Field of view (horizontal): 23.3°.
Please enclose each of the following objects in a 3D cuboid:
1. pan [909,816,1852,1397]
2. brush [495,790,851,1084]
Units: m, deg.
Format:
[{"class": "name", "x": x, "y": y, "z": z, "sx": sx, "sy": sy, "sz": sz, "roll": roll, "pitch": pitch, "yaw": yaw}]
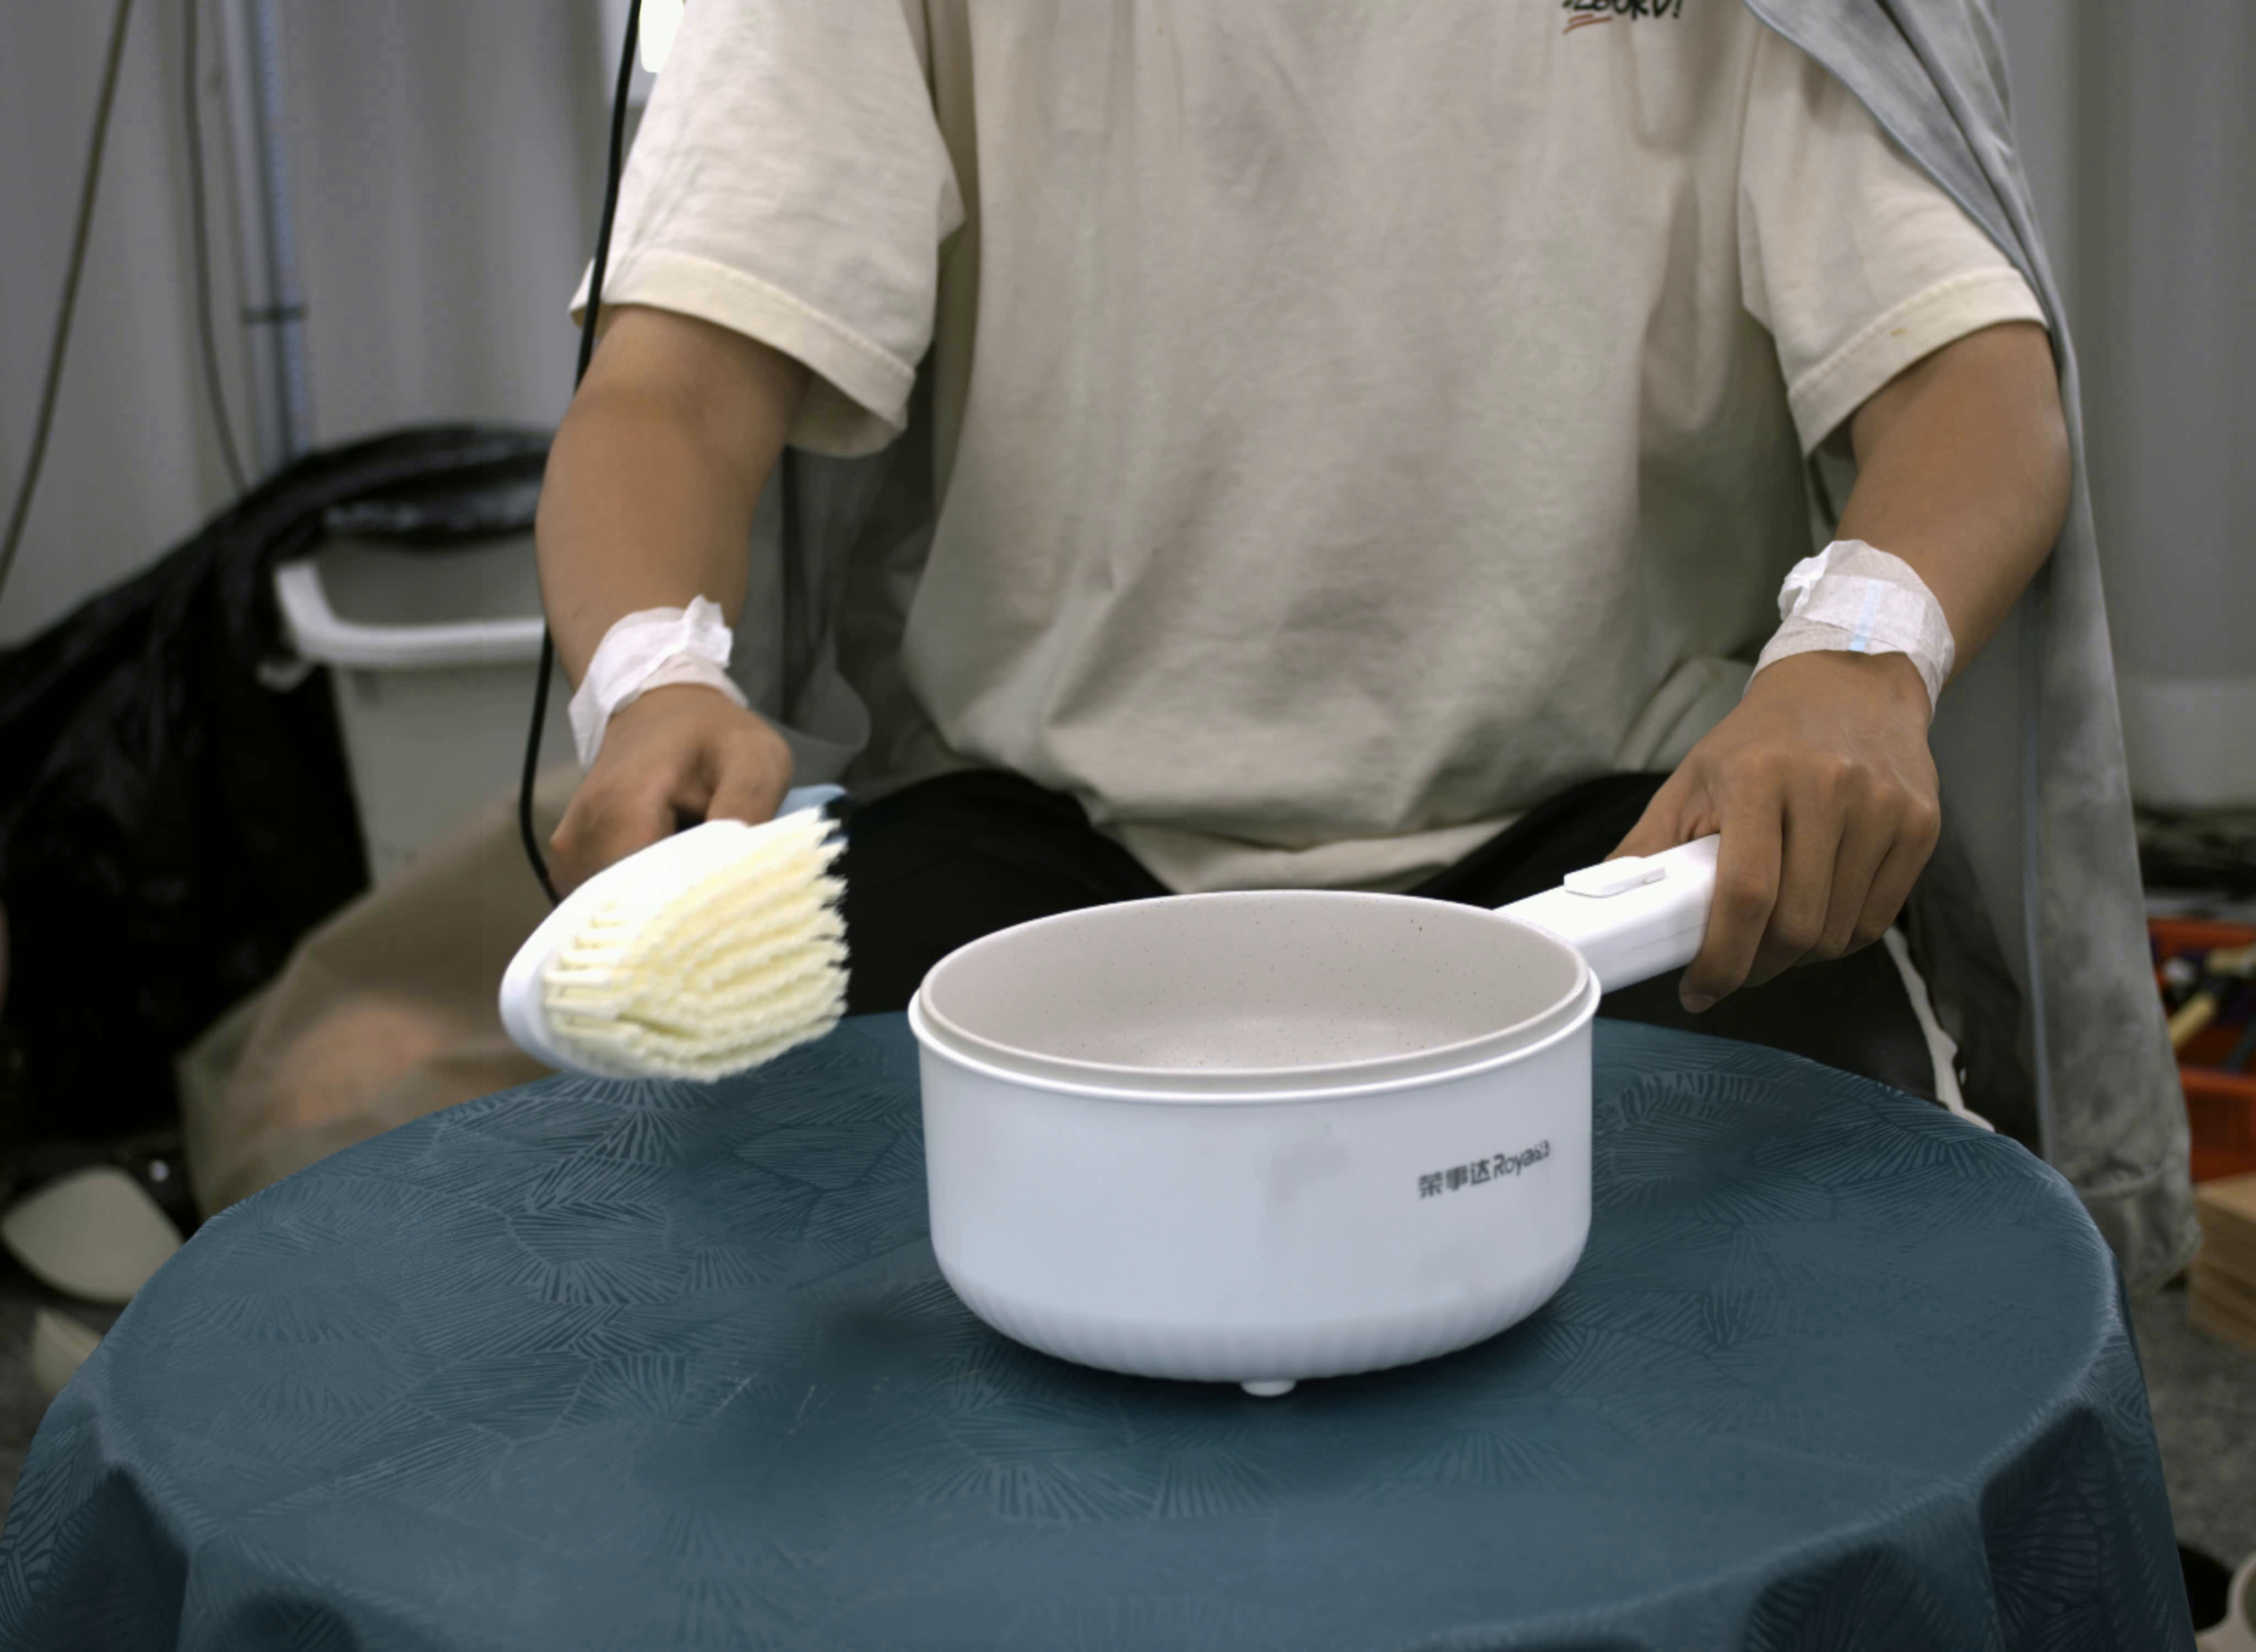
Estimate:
[{"class": "pan", "x": 0.092, "y": 0.078, "z": 1.649, "sx": 0.354, "sy": 0.102, "sz": 0.202, "roll": -15, "pitch": 19, "yaw": -43}, {"class": "brush", "x": -0.107, "y": 0.020, "z": 1.688, "sx": 0.084, "sy": 0.083, "sz": 0.326, "roll": 36, "pitch": 15, "yaw": 5}]
